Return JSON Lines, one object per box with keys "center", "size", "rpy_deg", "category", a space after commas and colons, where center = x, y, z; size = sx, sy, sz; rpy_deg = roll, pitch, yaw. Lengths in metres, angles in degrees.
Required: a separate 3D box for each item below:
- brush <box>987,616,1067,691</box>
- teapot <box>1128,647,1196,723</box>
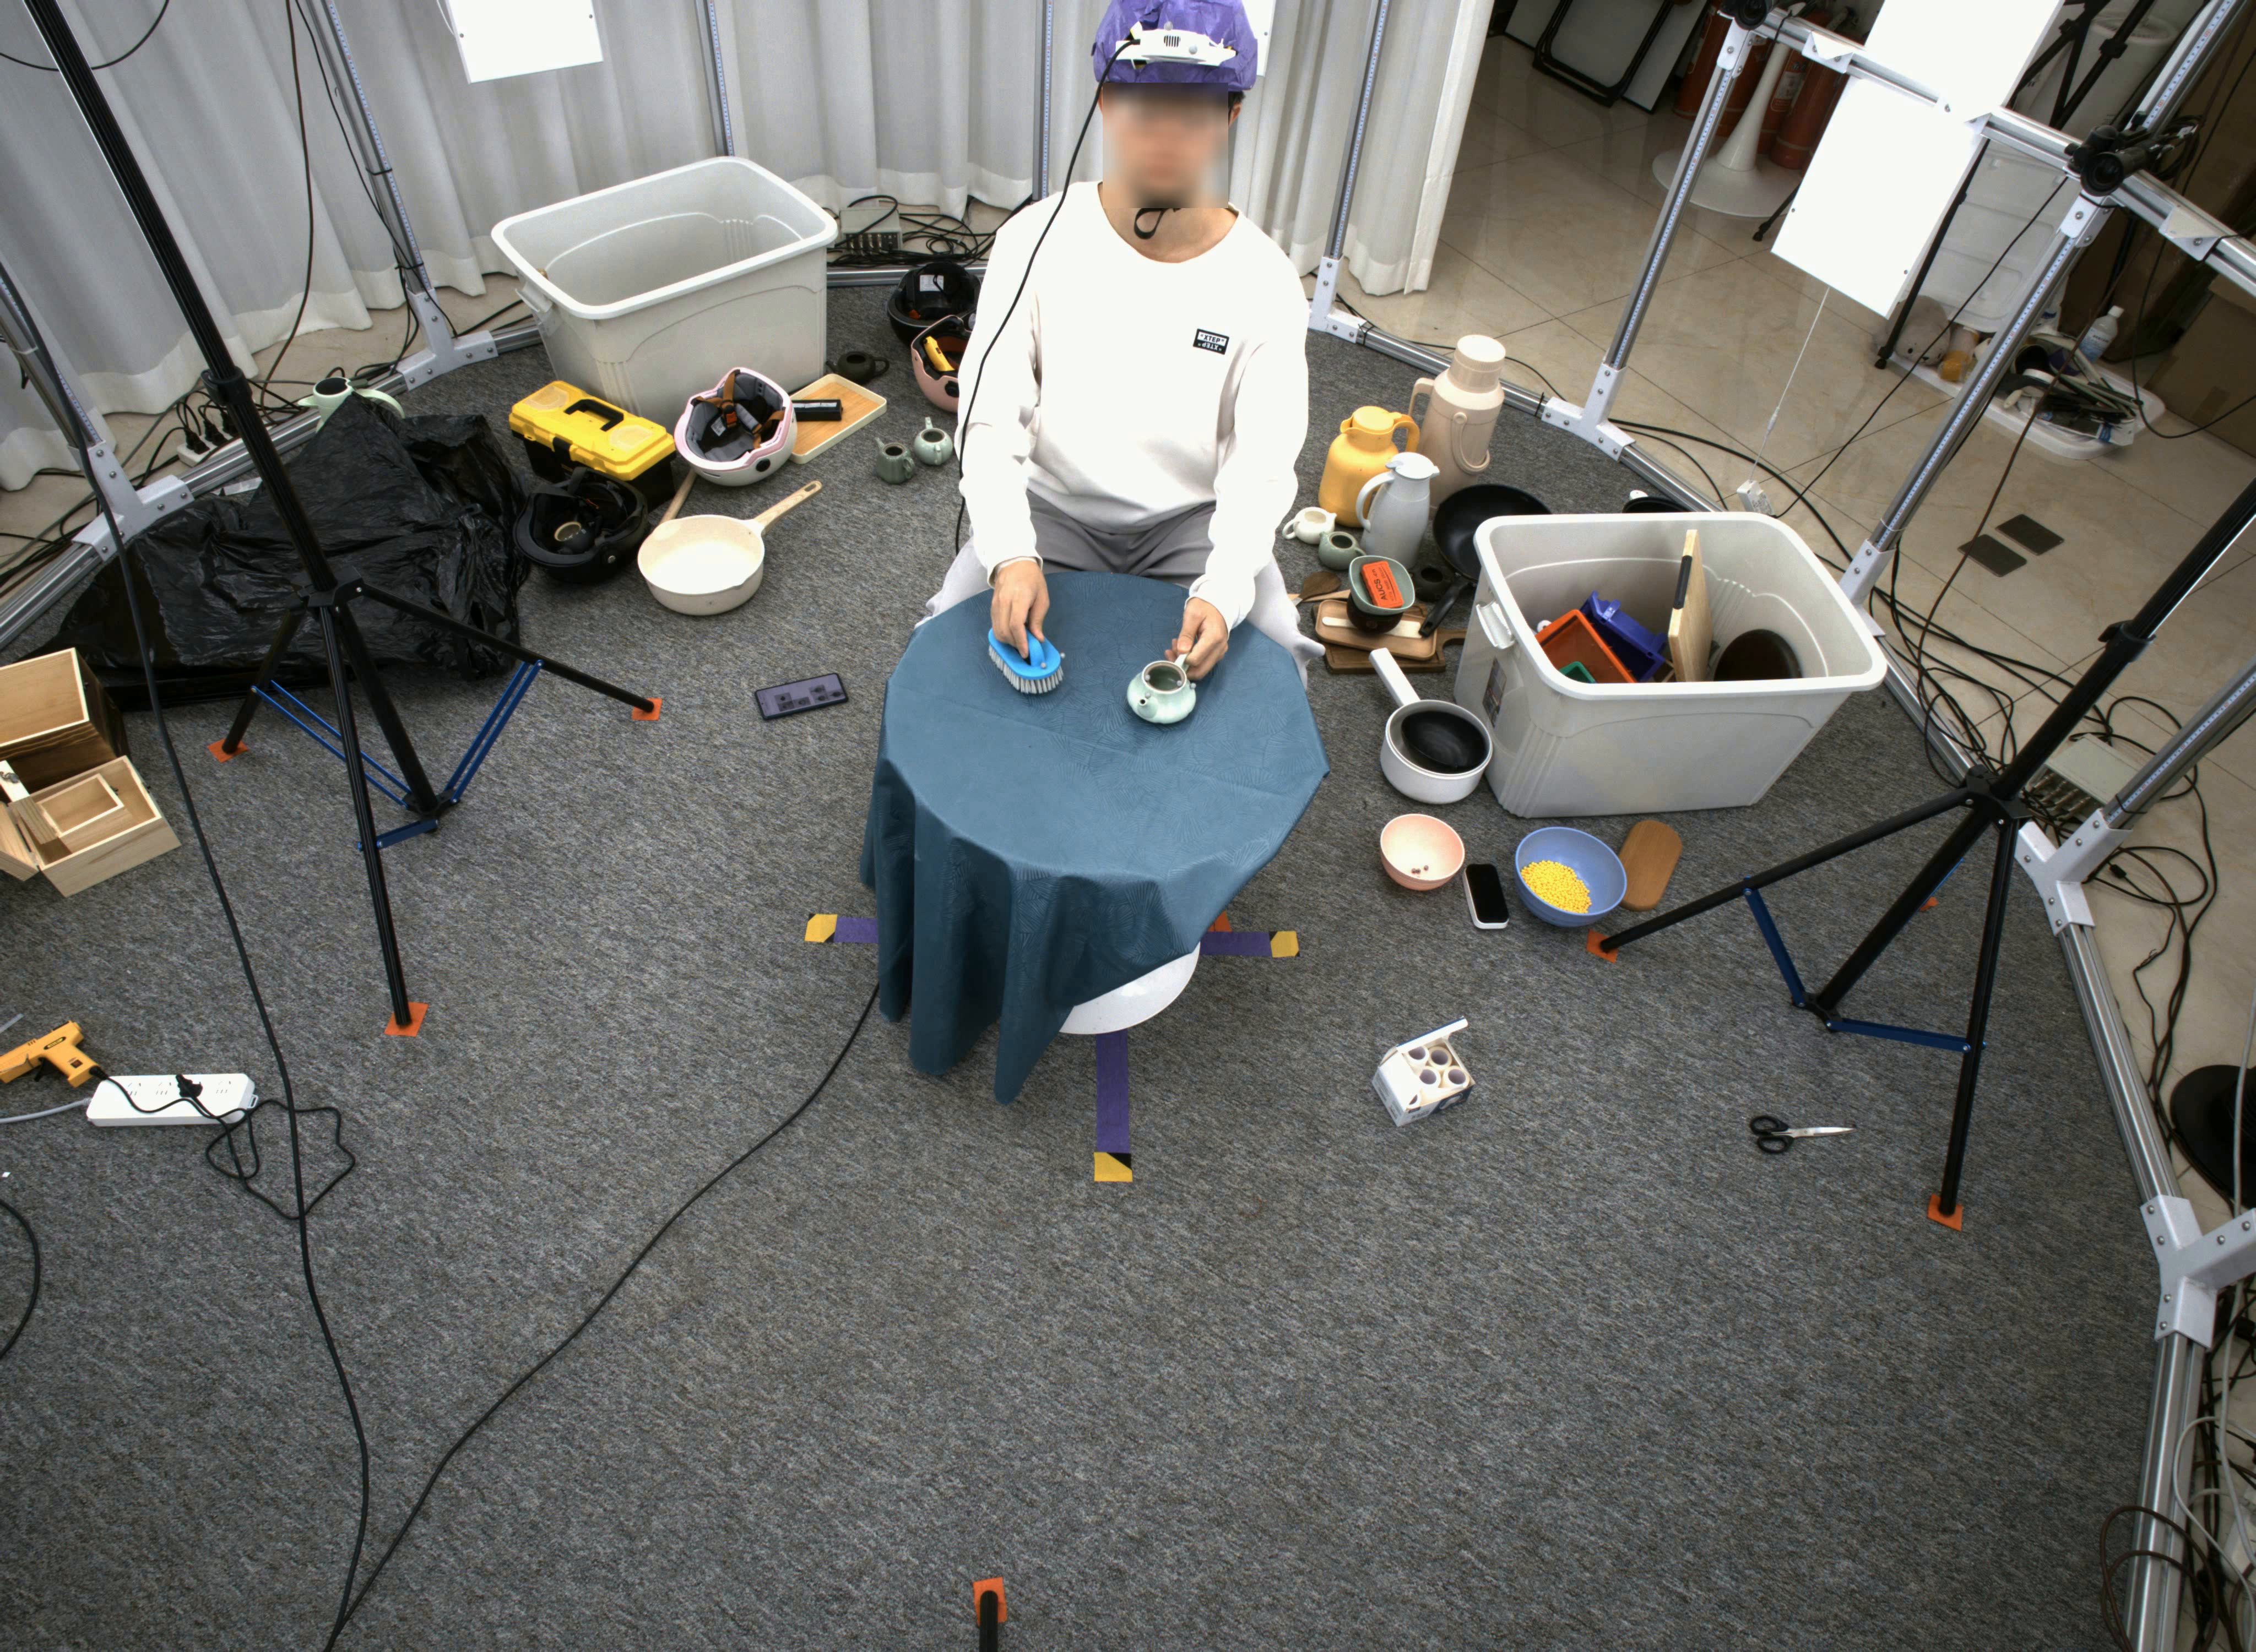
{"center": [-0.148, -0.256, 1.827], "size": [0.084, 0.062, 0.145], "rpy_deg": [-28, 49, -16], "category": "brush"}
{"center": [0.051, -0.195, 1.796], "size": [0.097, 0.060, 0.139], "rpy_deg": [26, 55, 16], "category": "teapot"}
